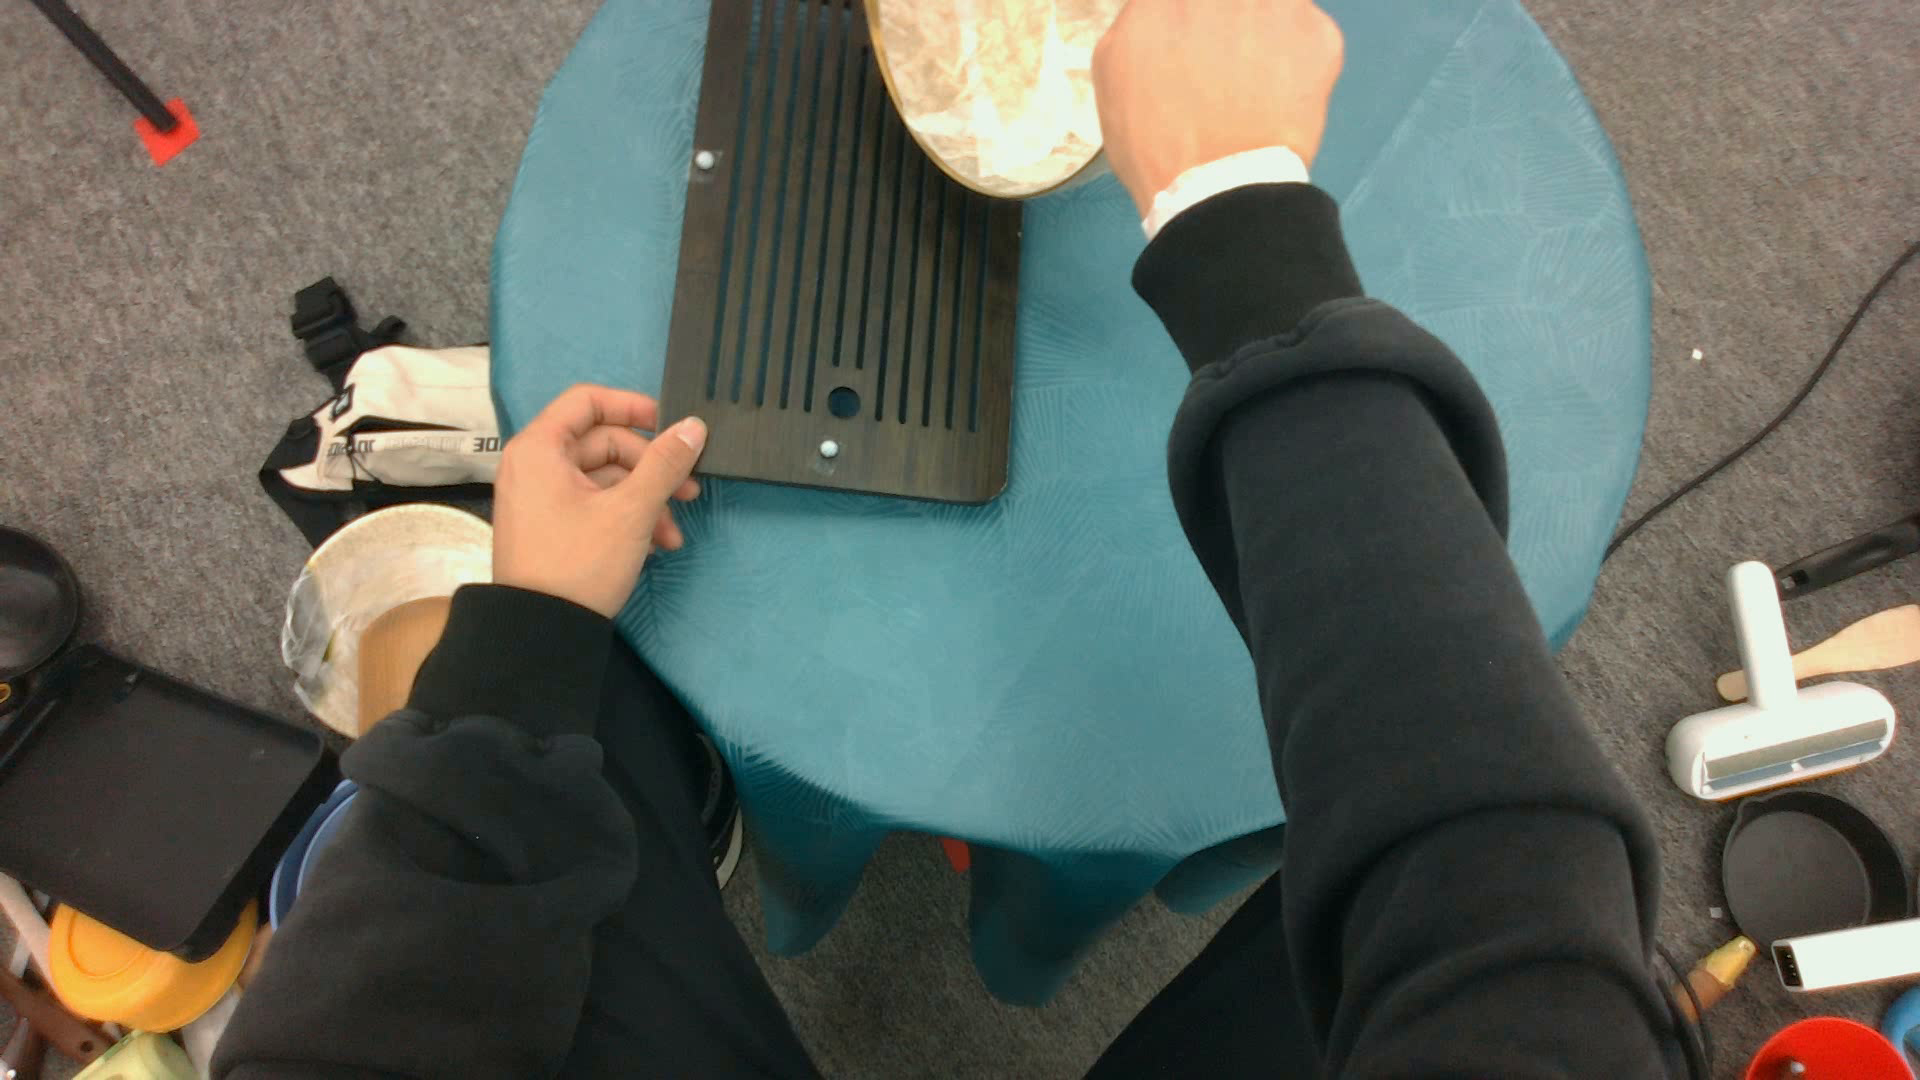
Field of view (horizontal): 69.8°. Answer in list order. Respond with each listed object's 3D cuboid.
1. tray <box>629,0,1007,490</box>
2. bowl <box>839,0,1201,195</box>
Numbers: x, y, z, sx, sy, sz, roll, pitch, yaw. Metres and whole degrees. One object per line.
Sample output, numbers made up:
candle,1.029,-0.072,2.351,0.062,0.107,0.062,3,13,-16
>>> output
tray,-0.066,-0.176,0.701,0.170,0.018,0.306,6,73,-9
bowl,0.039,-0.264,0.625,0.095,0.213,0.215,-18,73,-39
